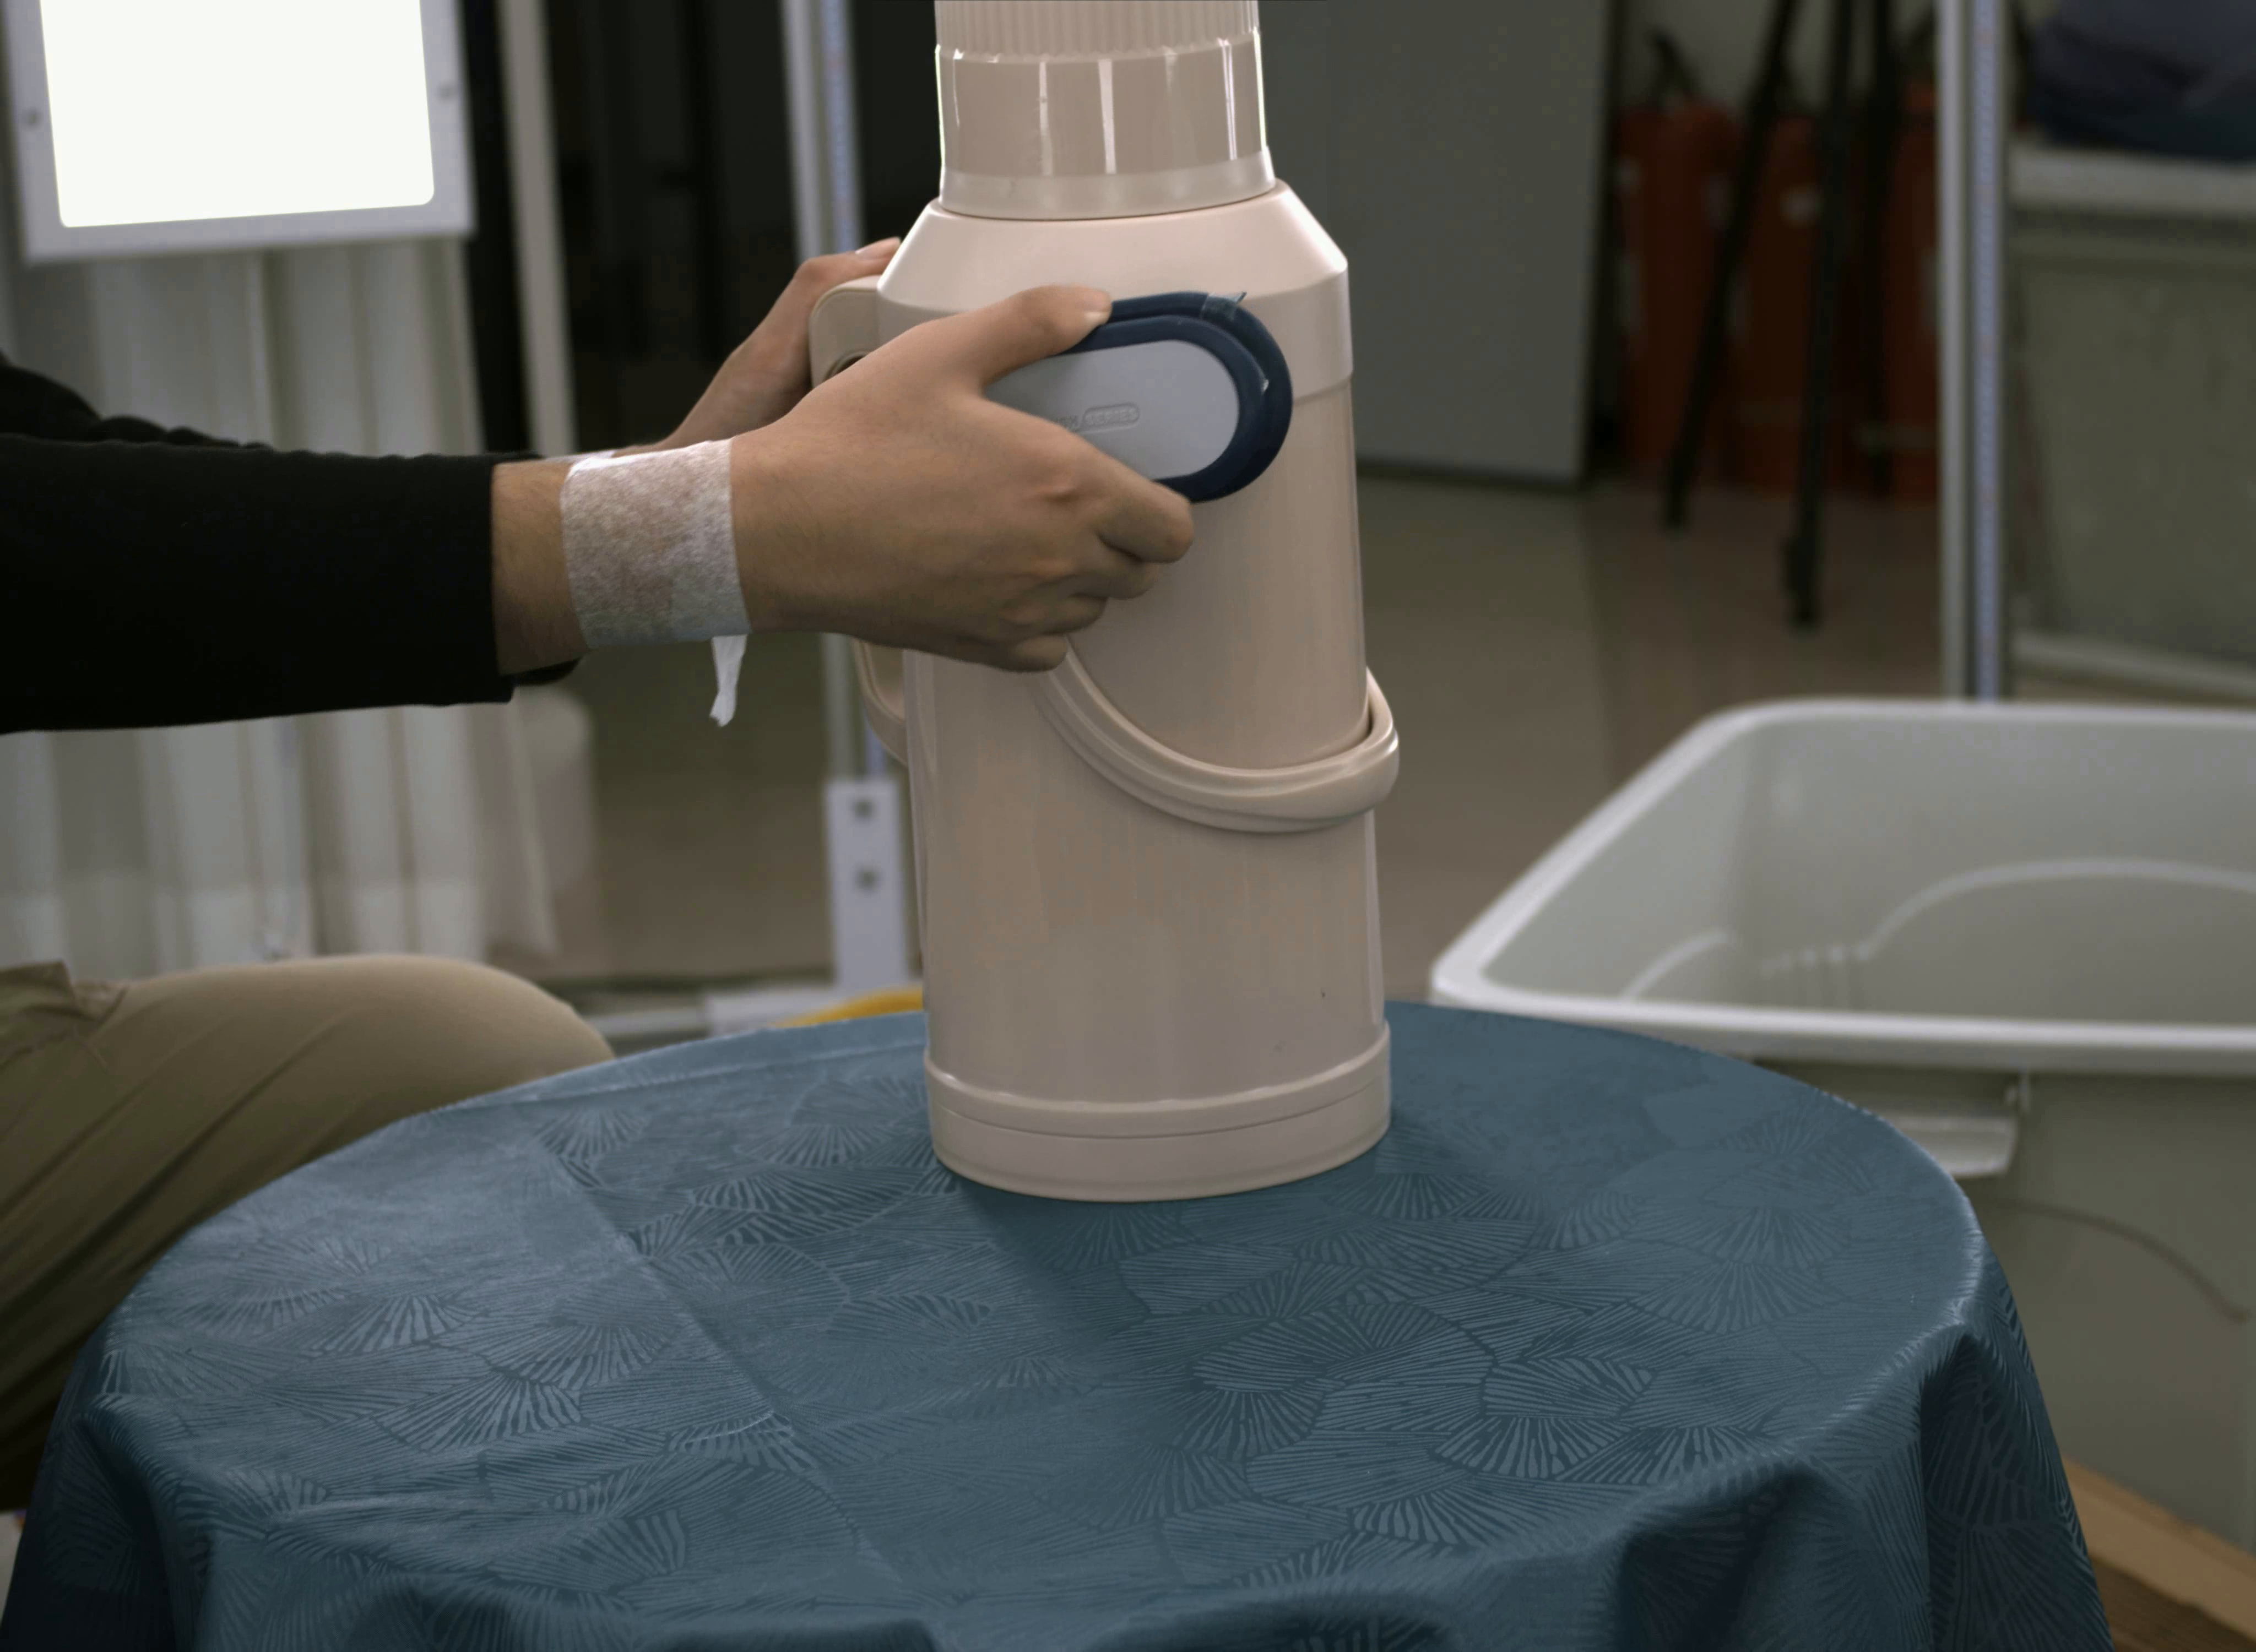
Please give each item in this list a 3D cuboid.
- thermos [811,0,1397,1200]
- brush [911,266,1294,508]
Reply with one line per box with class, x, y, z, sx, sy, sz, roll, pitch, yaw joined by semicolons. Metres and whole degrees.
thermos;-0.011;-0.091;1.799;0.208;0.410;0.172;5;17;33
brush;-0.008;-0.135;1.665;0.121;0.068;0.061;-5;10;12
